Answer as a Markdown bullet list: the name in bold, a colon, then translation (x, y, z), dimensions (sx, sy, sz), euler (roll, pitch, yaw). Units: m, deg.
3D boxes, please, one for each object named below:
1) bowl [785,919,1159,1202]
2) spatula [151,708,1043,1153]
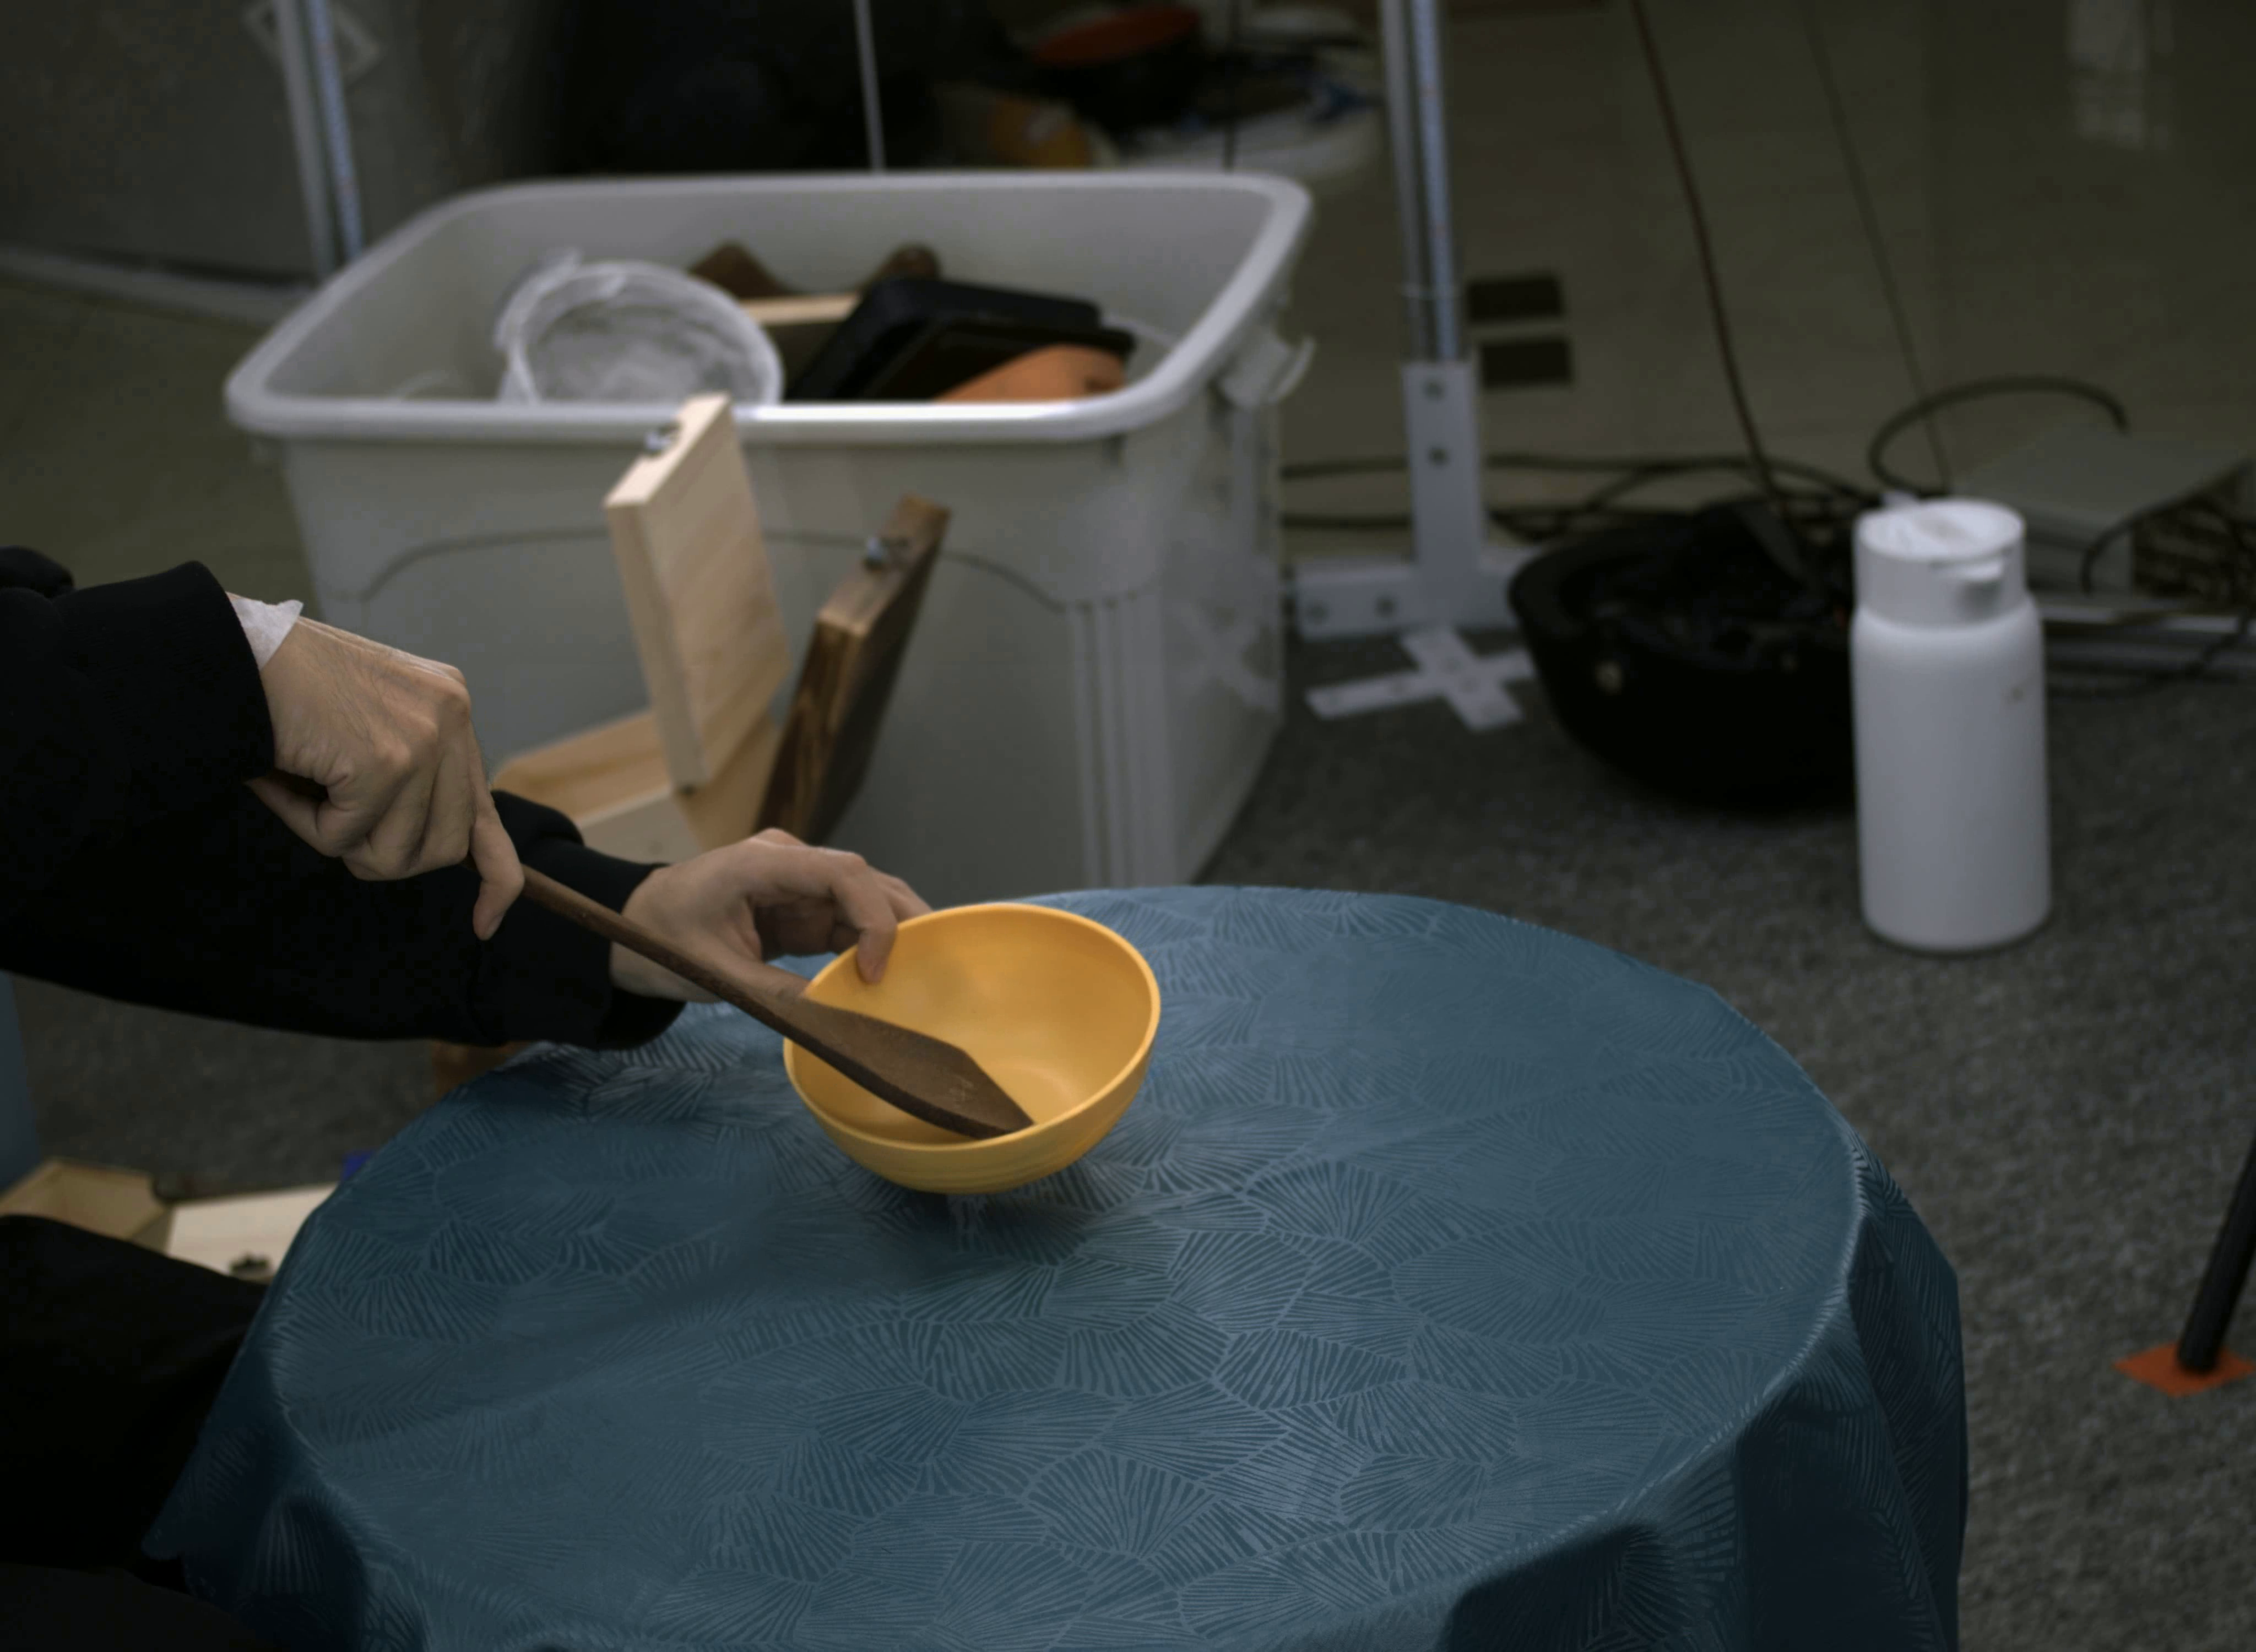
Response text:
- **bowl**: translation (-0.055, 0.101, 2.167), dimensions (0.145, 0.061, 0.143), euler (-7, 36, 5)
- **spatula**: translation (-0.188, 0.037, 2.052), dimensions (0.389, 0.016, 0.095), euler (28, 9, -32)
